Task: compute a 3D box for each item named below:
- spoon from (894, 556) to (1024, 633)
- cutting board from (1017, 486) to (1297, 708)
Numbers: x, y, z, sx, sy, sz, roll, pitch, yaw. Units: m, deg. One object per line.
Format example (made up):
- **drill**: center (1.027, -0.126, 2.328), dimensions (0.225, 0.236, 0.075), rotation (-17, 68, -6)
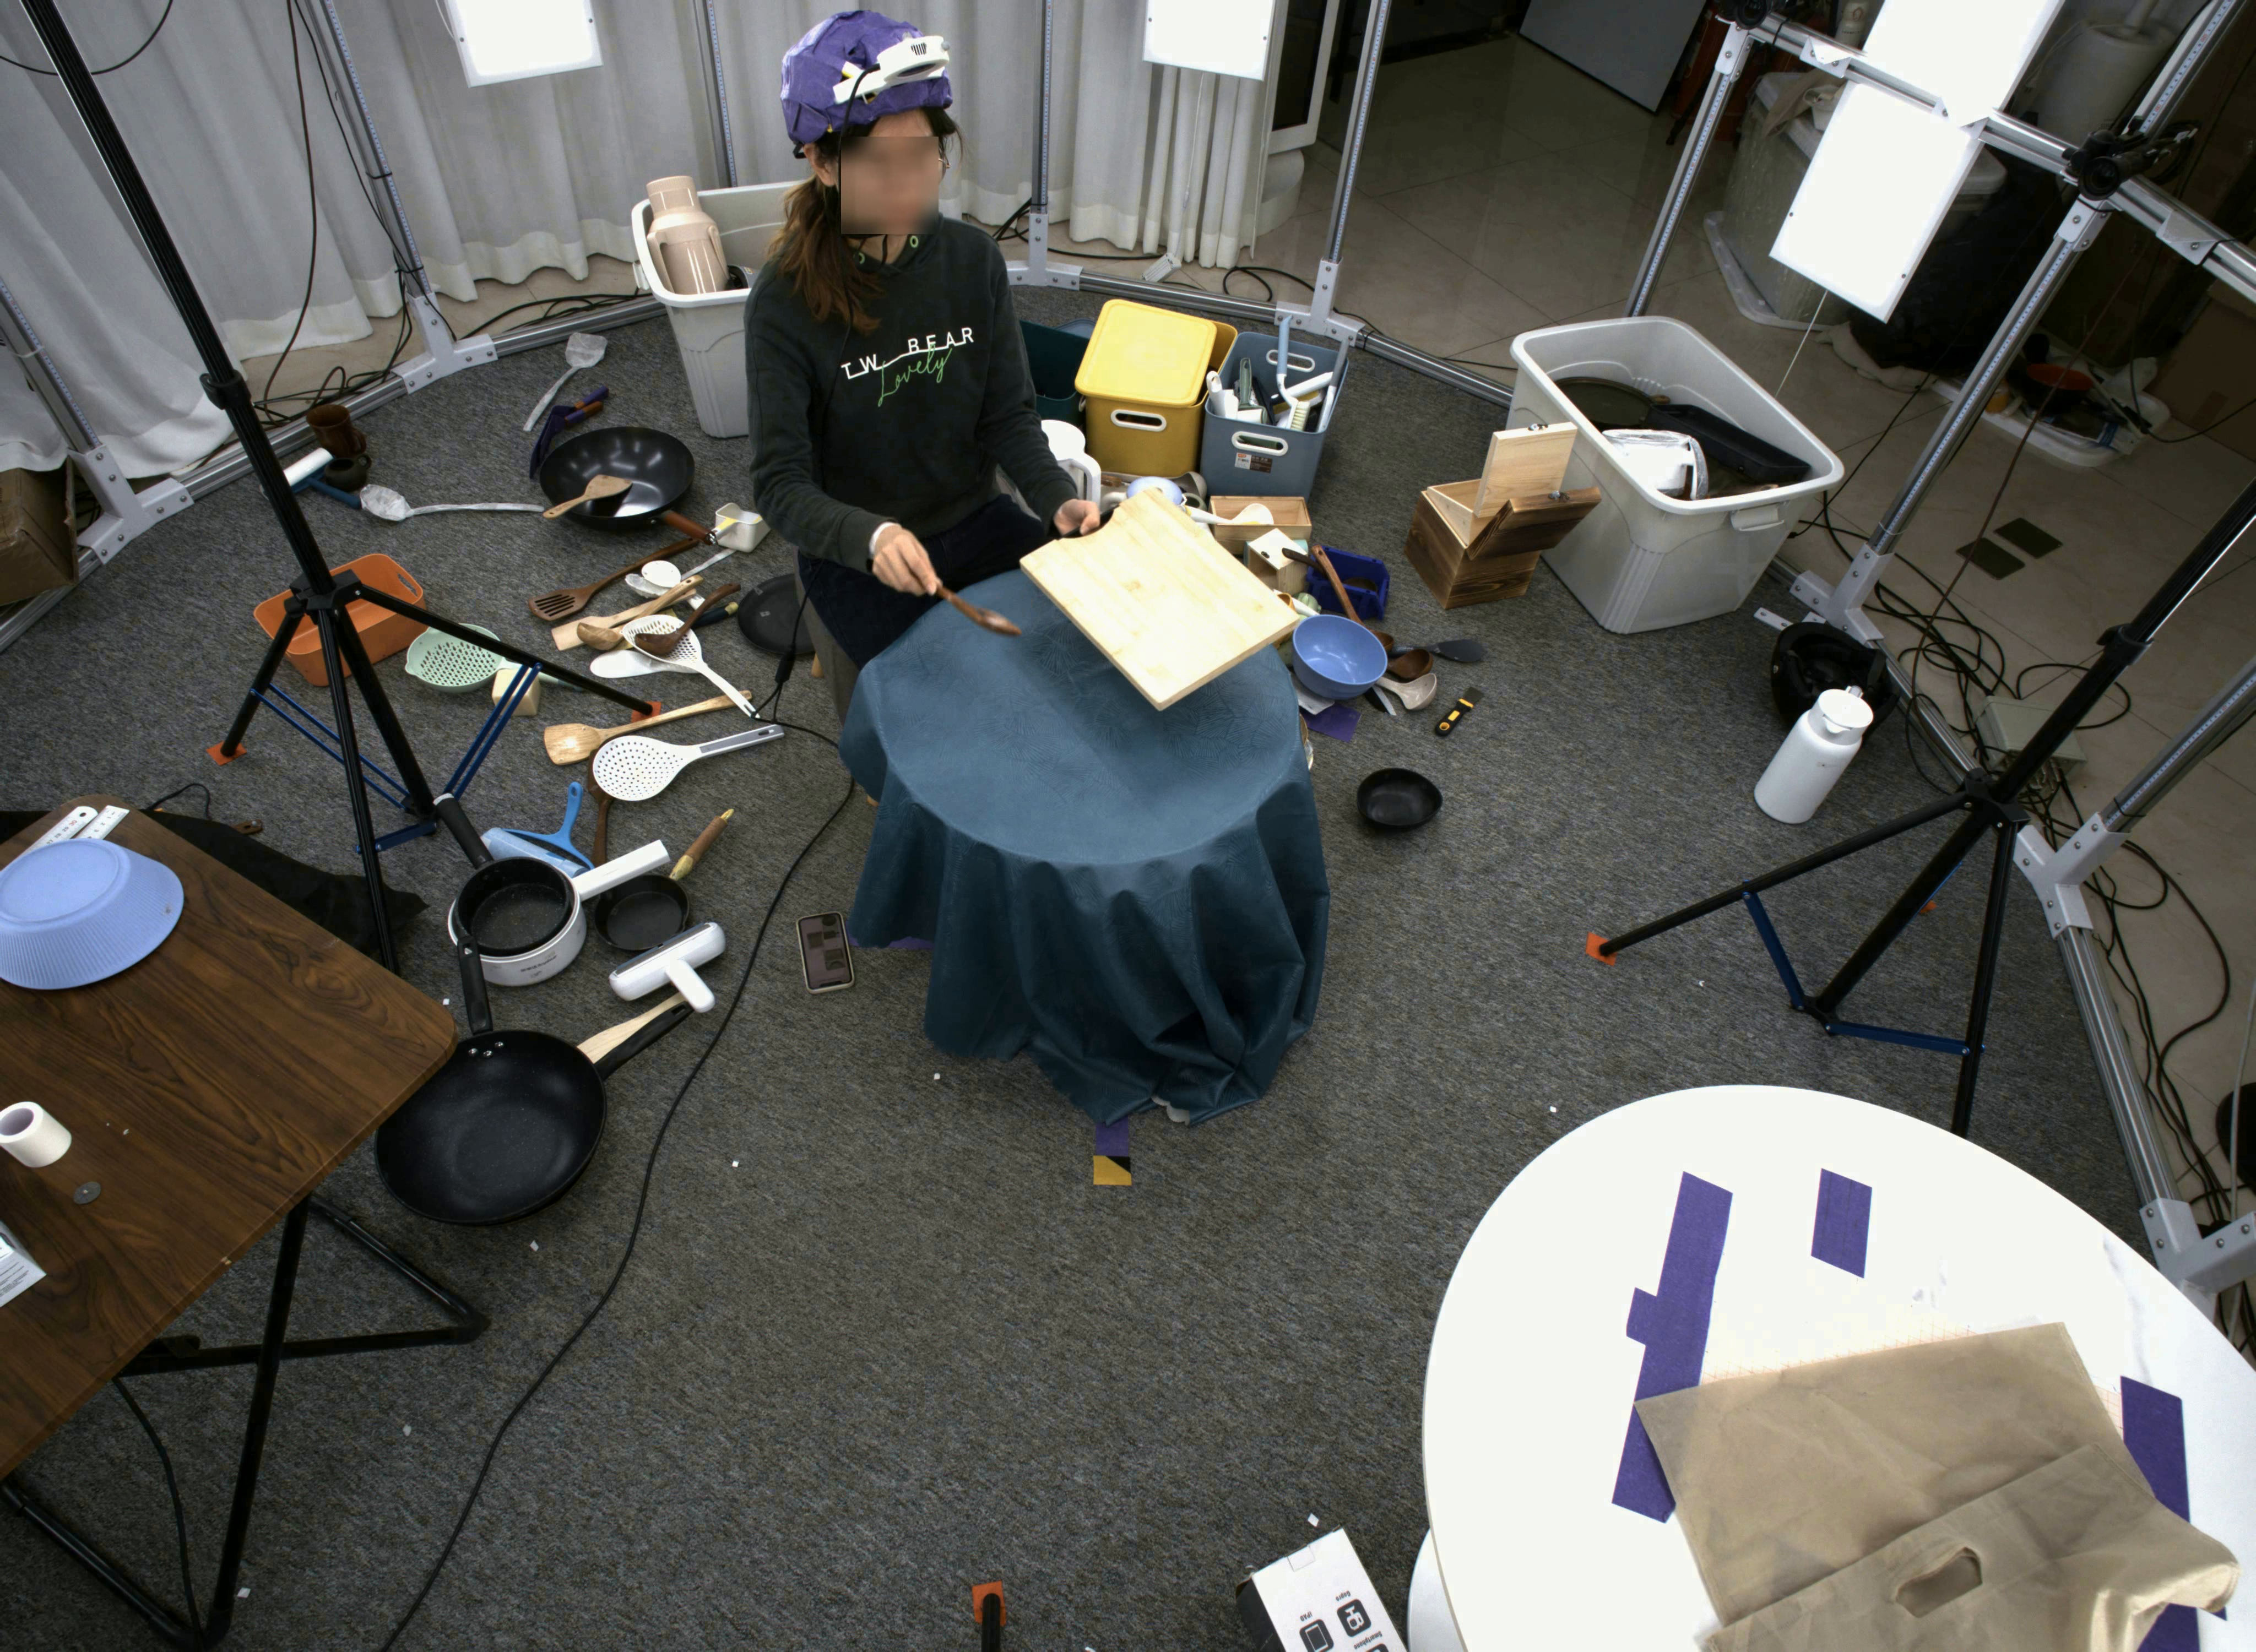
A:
- **spoon**: center (-0.221, -0.294, 1.651), dimensions (0.219, 0.017, 0.075), rotation (34, 21, 26)
- **cutting board**: center (0.036, -0.331, 1.815), dimensions (0.252, 0.023, 0.355), rotation (-32, 58, -17)
